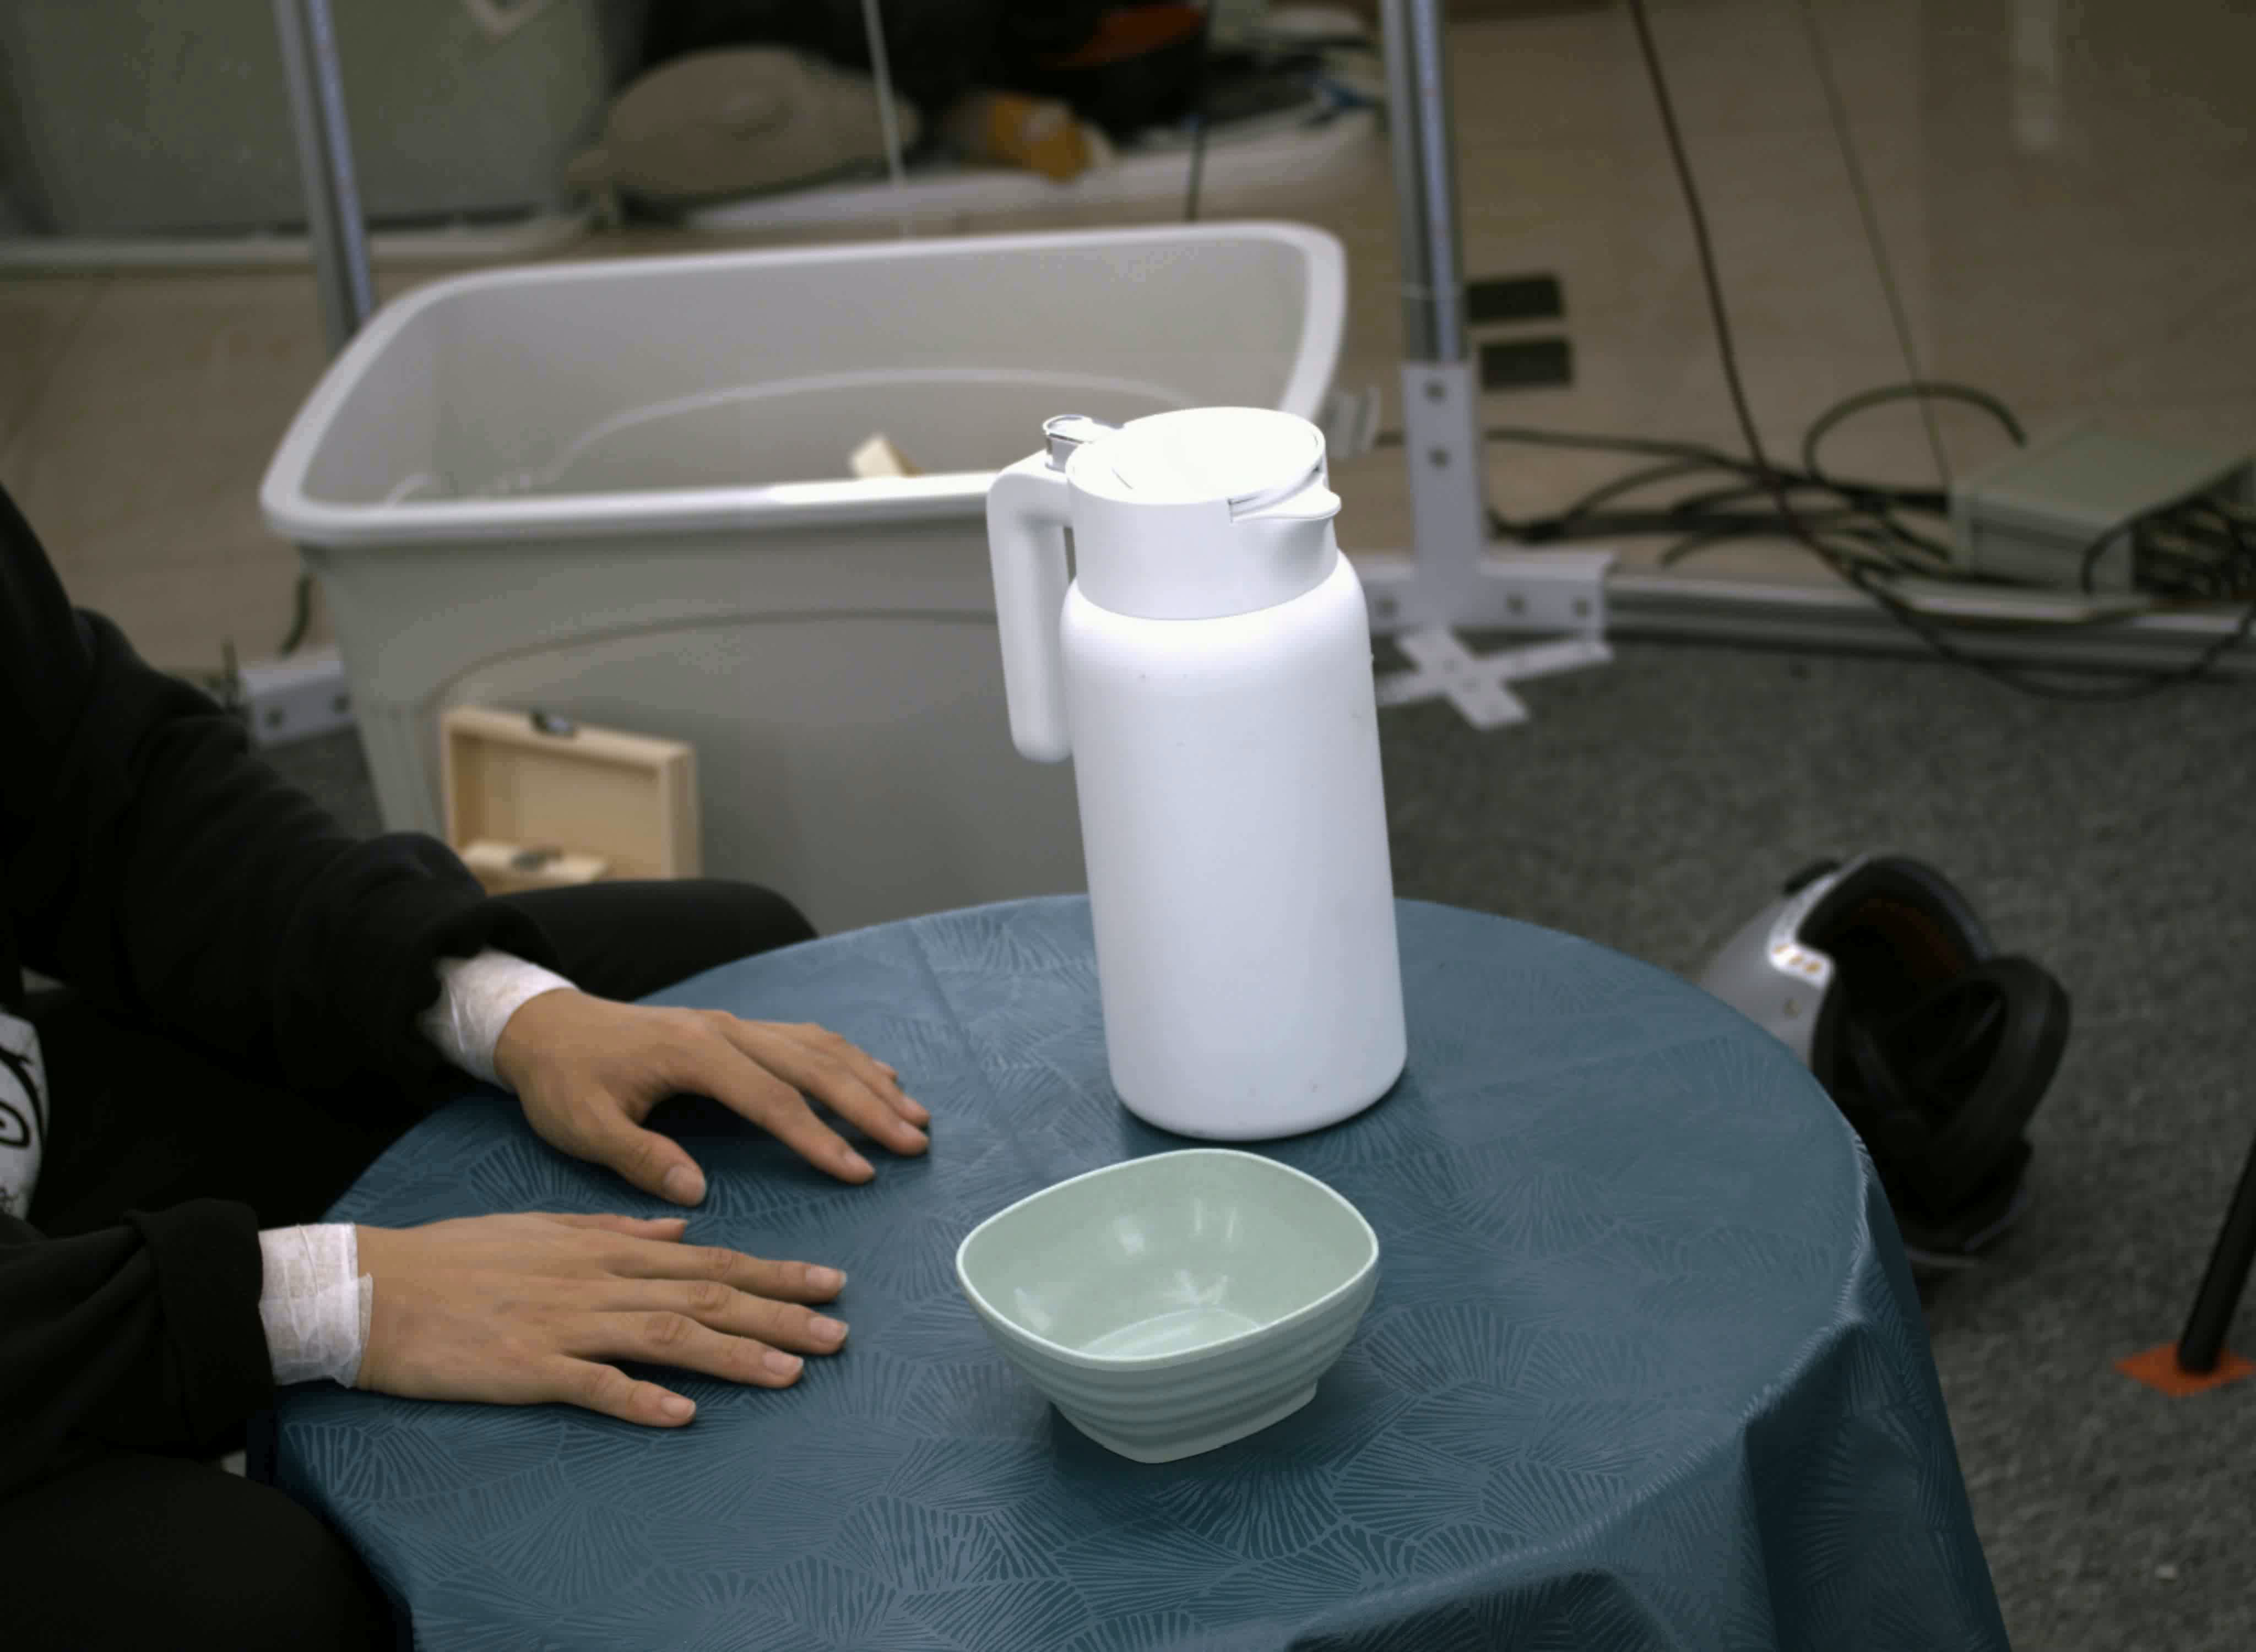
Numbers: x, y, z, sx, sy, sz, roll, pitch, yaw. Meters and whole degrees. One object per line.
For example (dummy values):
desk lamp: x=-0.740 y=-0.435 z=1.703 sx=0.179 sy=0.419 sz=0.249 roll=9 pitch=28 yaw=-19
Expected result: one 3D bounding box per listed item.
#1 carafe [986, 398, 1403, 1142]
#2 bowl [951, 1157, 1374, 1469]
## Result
carafe: x=0.024 y=-0.023 z=2.171 sx=0.171 sy=0.273 sz=0.122 roll=16 pitch=36 yaw=39
bowl: x=0.014 y=0.177 z=2.001 sx=0.151 sy=0.059 sz=0.149 roll=-5 pitch=25 yaw=2
